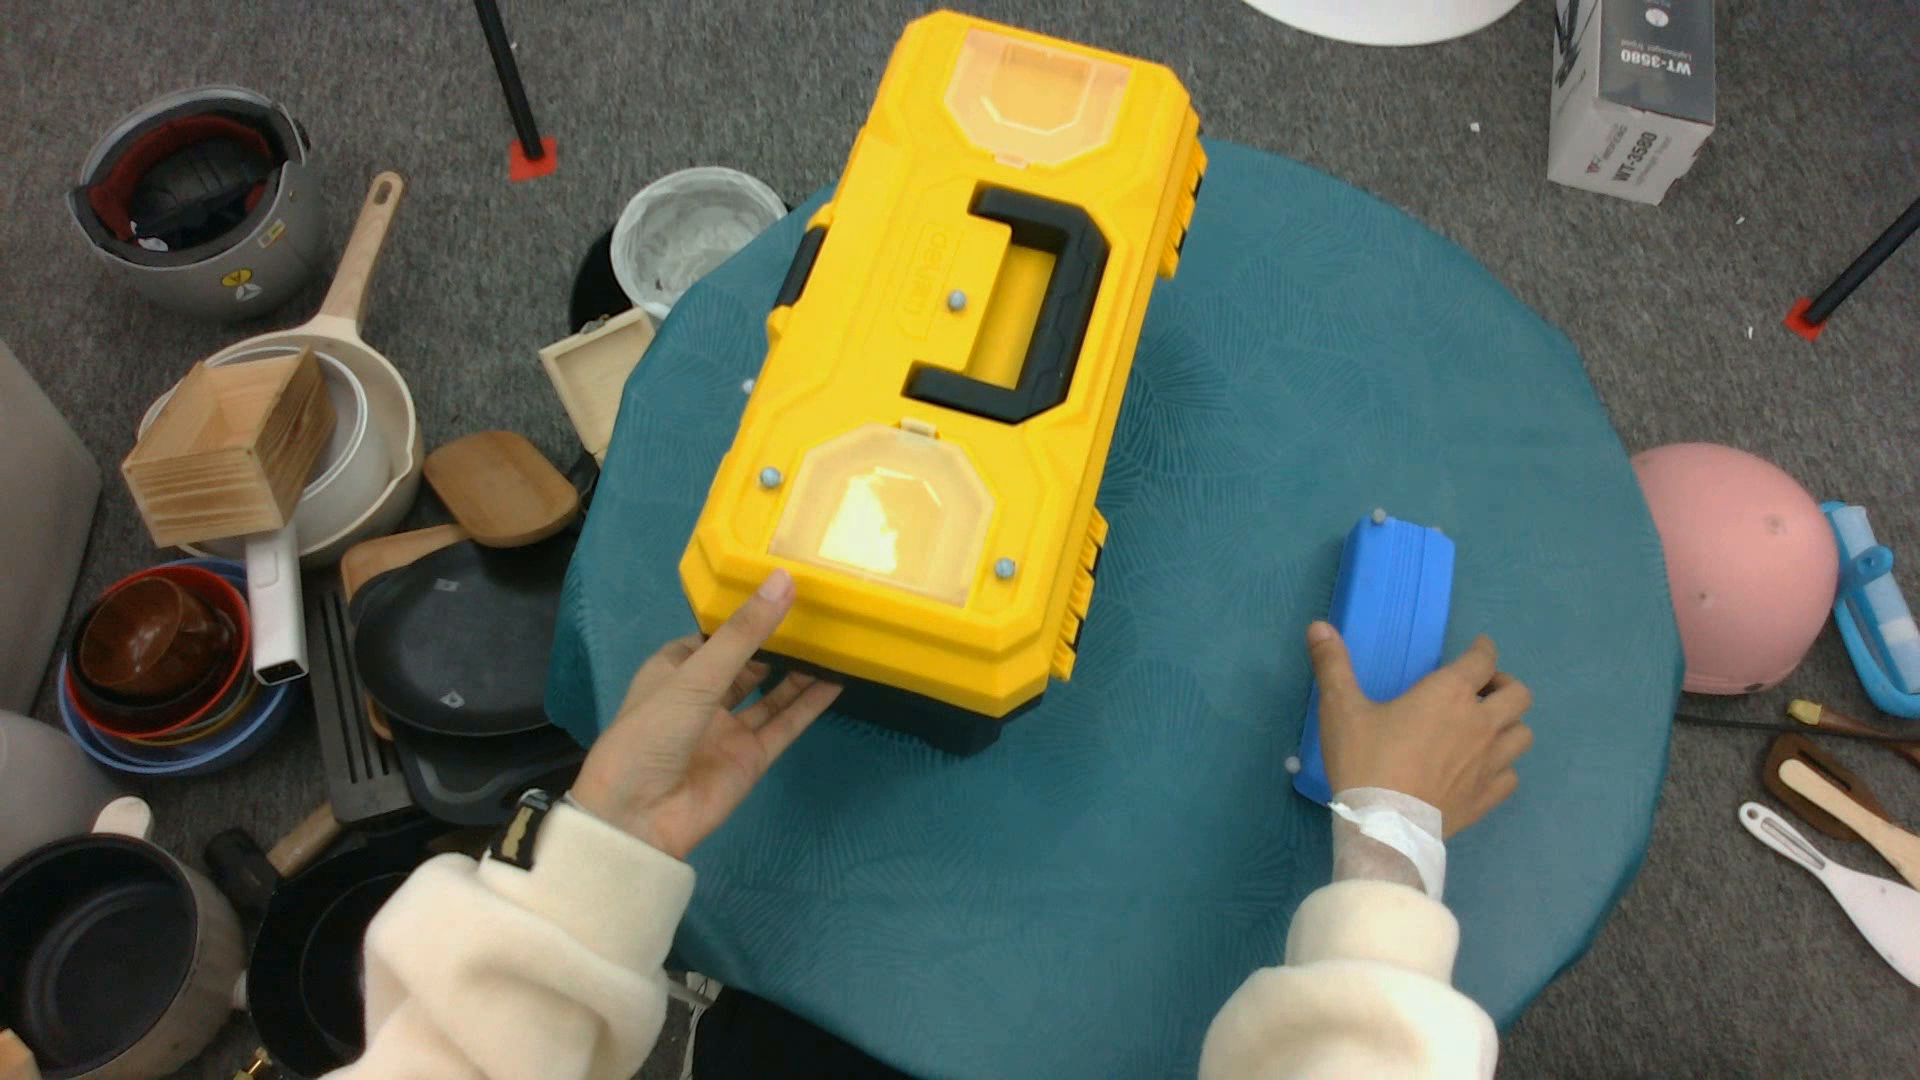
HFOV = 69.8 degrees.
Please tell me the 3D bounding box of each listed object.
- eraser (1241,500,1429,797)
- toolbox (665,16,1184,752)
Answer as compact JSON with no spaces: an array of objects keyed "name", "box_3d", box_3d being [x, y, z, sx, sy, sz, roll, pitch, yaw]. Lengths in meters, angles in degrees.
[{"name":"eraser","box_3d":[0.197,0.051,0.710,0.054,0.047,0.163,26,62,2]},{"name":"toolbox","box_3d":[-0.008,-0.078,0.698,0.181,0.172,0.353,16,63,3]}]
